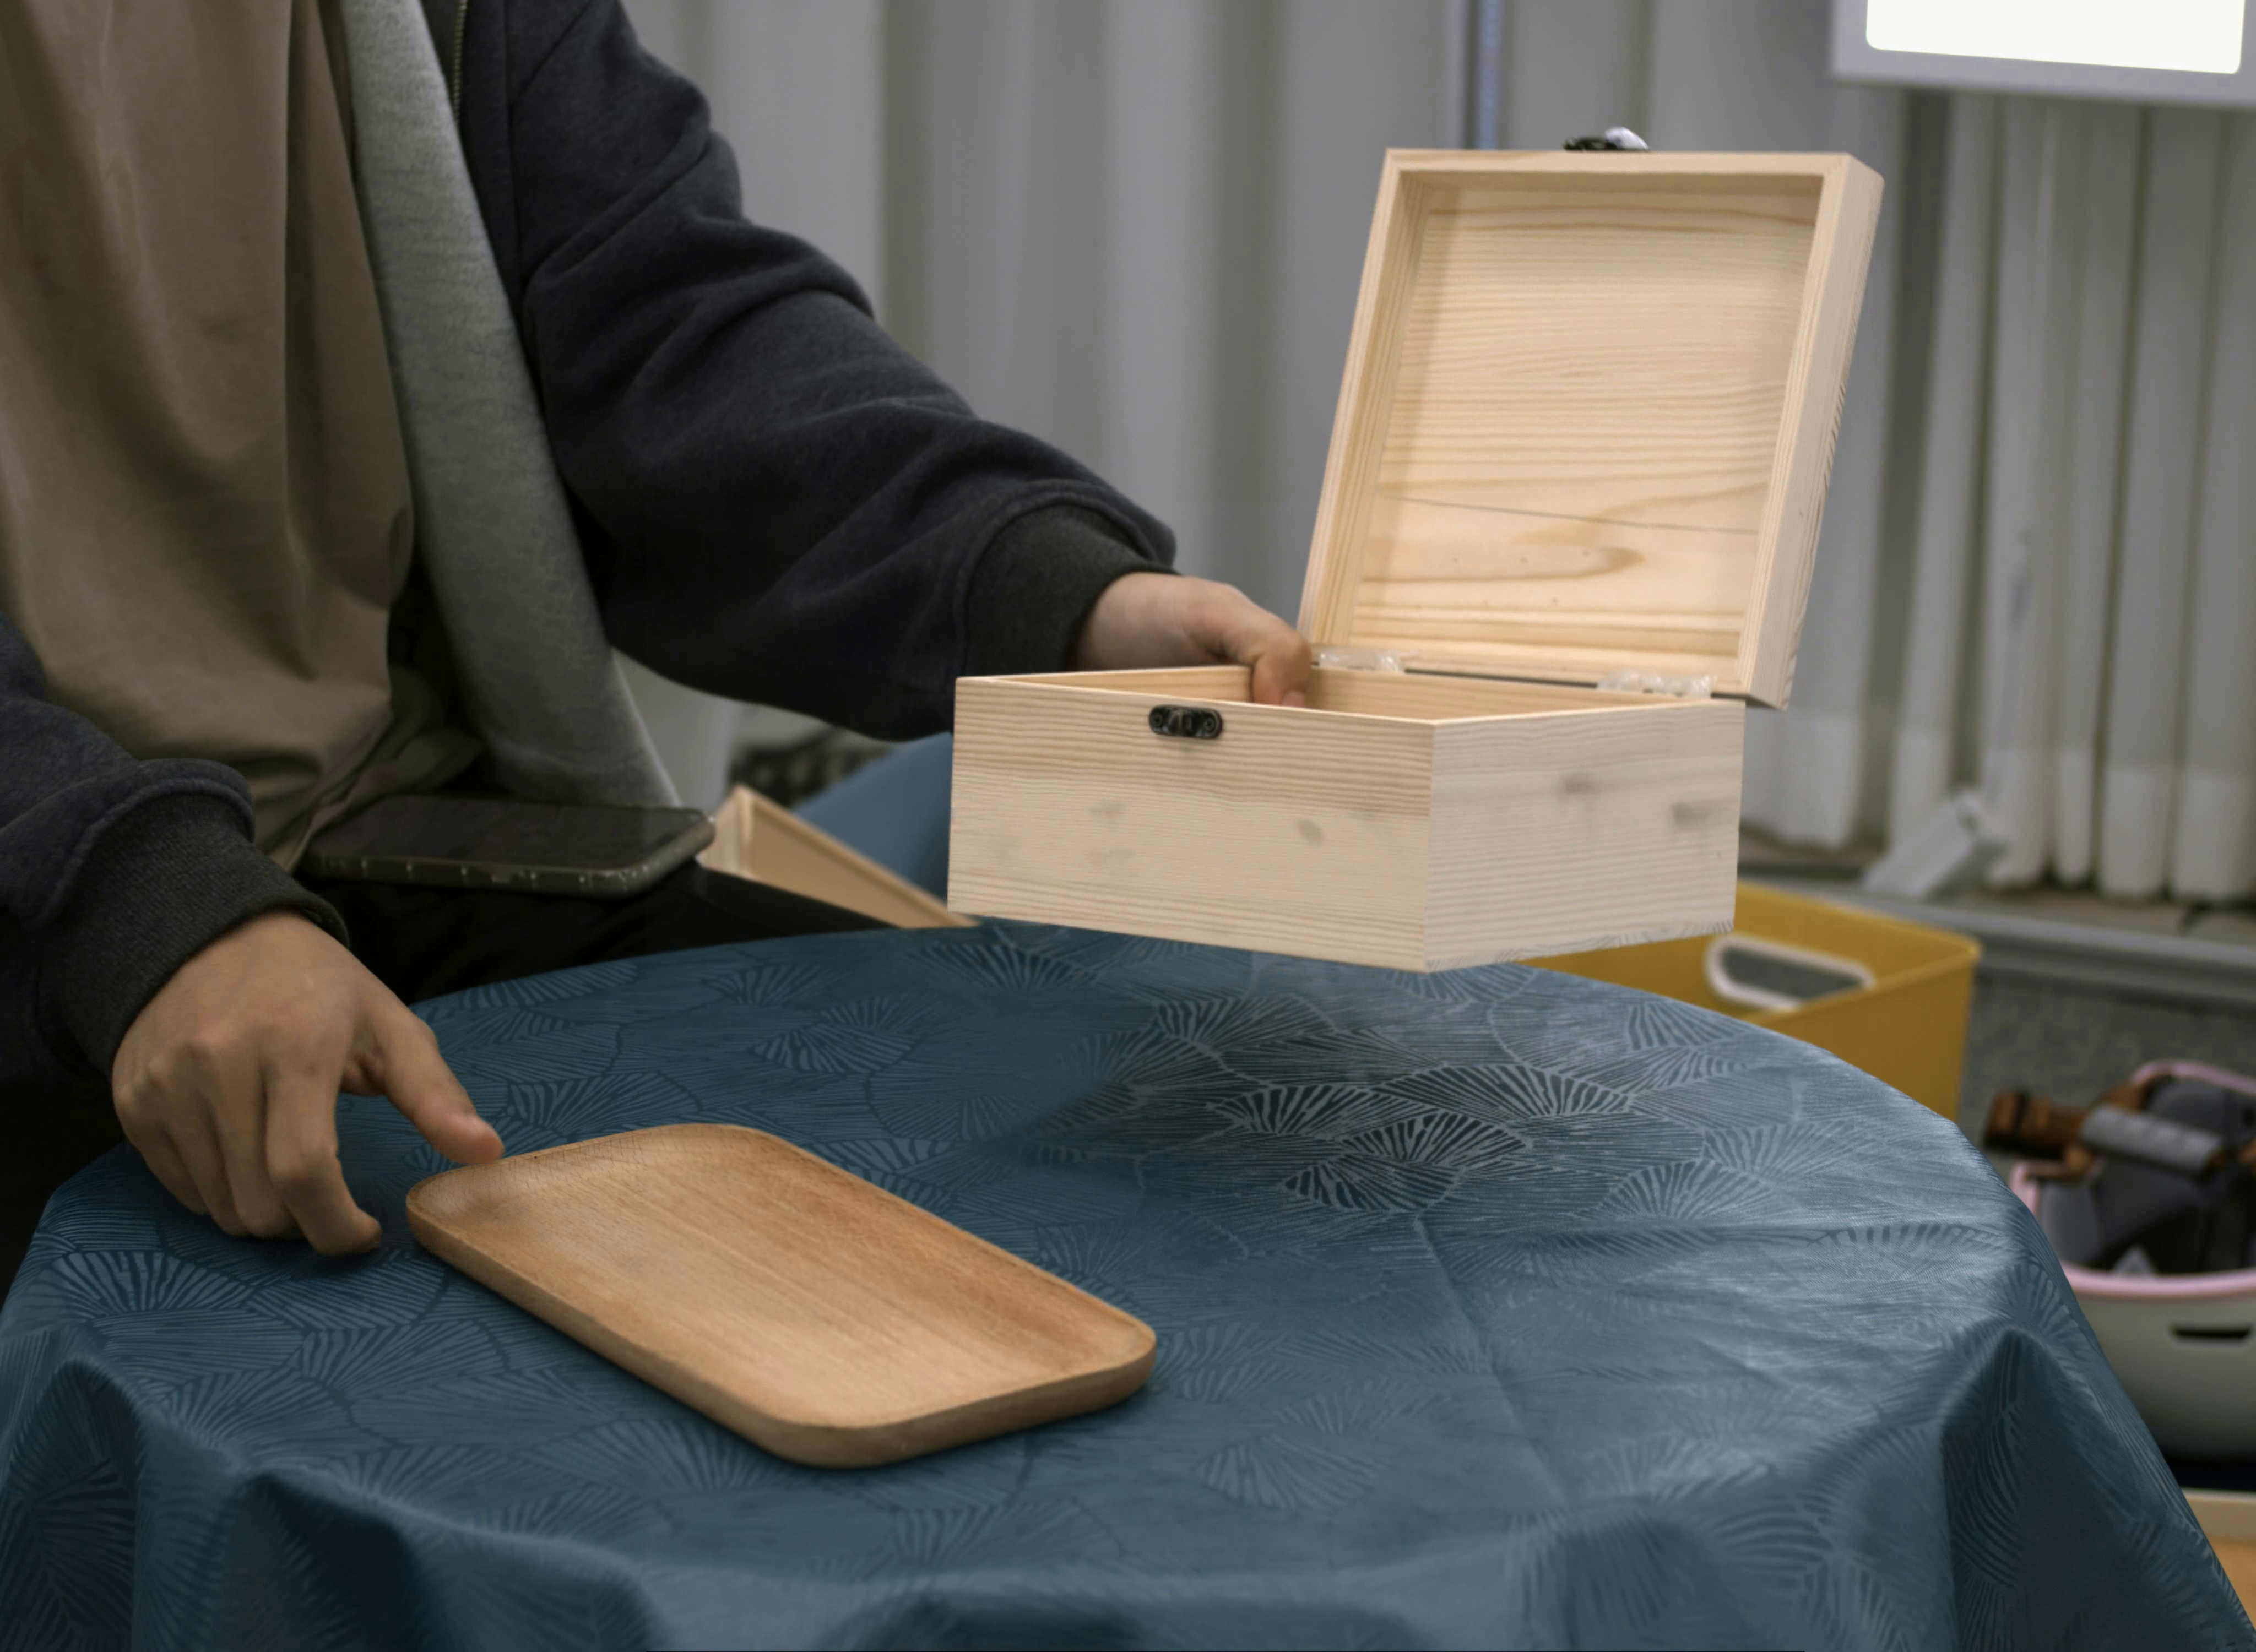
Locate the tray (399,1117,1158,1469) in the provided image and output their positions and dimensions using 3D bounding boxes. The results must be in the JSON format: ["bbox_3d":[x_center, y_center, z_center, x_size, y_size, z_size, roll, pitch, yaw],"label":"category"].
[{"bbox_3d":[-0.105,0.131,1.517,0.131,0.023,0.247,-7,17,-35],"label":"tray"}]

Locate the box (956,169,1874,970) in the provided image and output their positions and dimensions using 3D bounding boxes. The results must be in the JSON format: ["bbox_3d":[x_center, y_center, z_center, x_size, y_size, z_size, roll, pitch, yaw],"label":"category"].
[{"bbox_3d":[0.094,-0.091,1.686,0.179,0.254,0.267,4,4,35],"label":"box"}]
